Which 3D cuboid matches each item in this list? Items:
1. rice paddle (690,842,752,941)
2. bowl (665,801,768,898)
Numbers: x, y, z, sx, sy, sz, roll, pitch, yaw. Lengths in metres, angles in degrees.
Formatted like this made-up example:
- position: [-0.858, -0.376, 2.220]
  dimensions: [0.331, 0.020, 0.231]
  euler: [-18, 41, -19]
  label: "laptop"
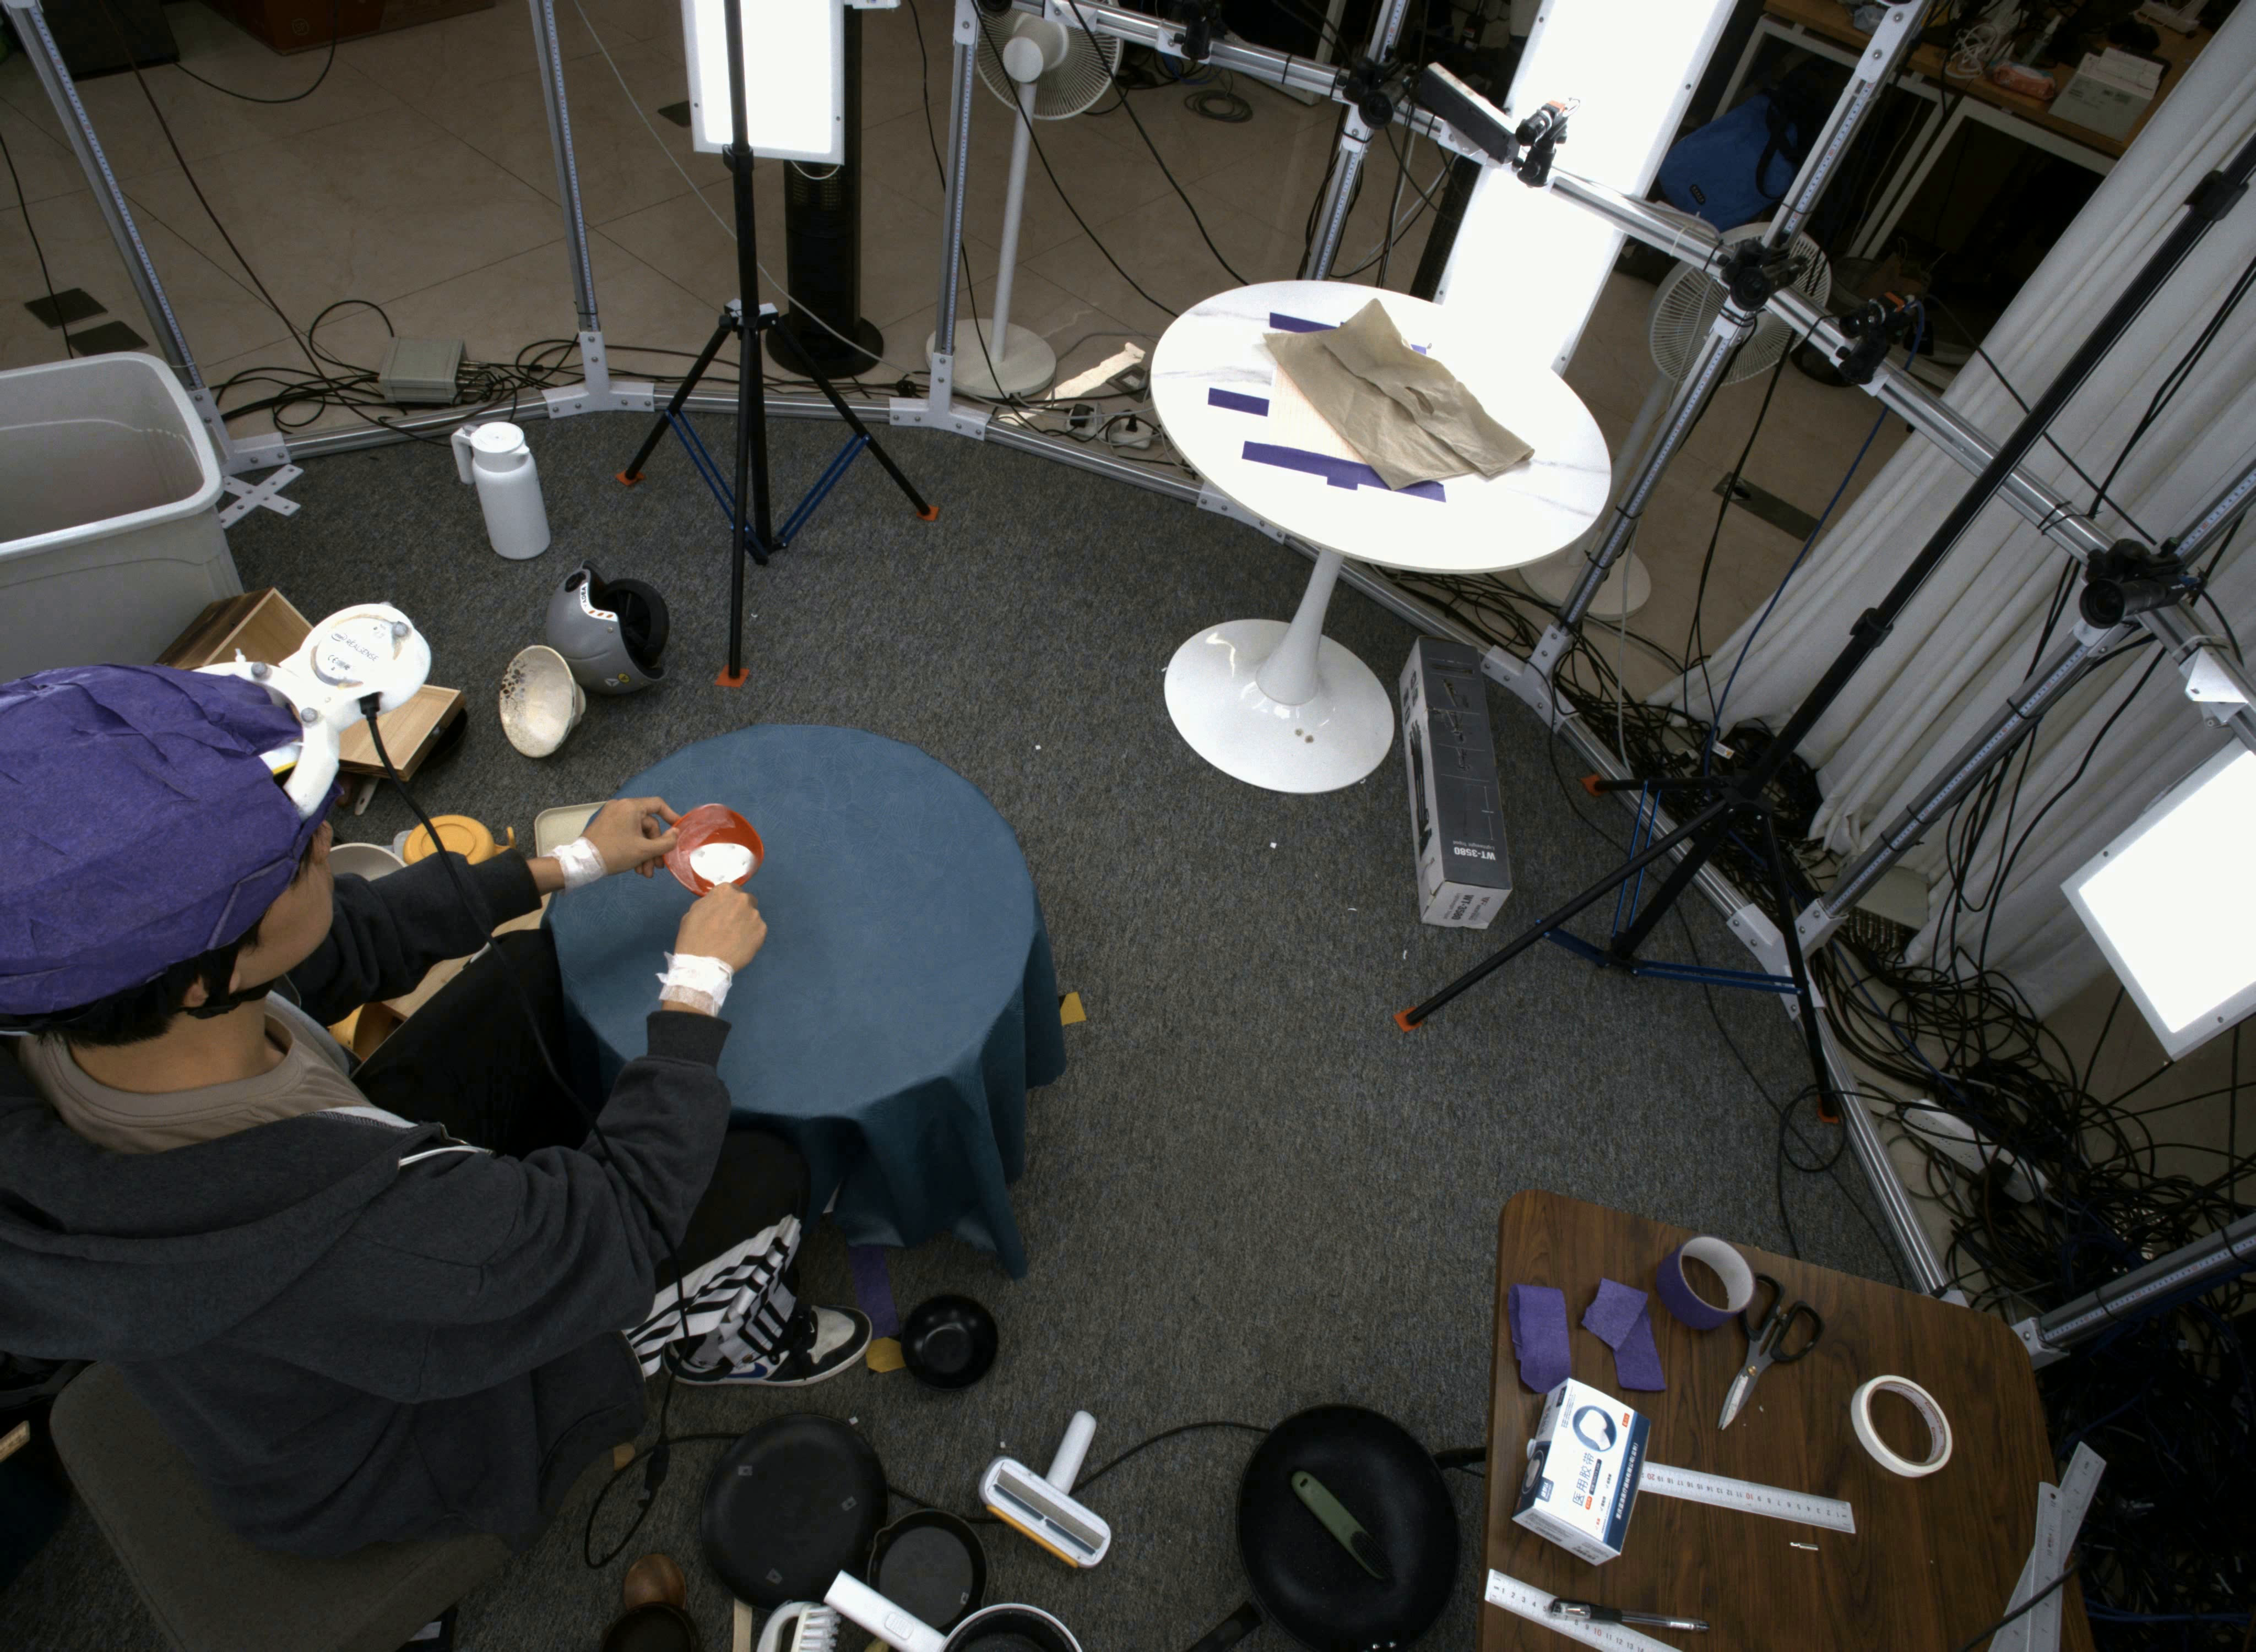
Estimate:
- position: [-0.443, 0.059, 1.412]
  dimensions: [0.069, 0.030, 0.198]
  euler: [-1, 27, -19]
  label: "rice paddle"
- position: [-0.495, 0.034, 1.555]
  dimensions: [0.119, 0.051, 0.118]
  euler: [8, 68, -17]
  label: "bowl"
